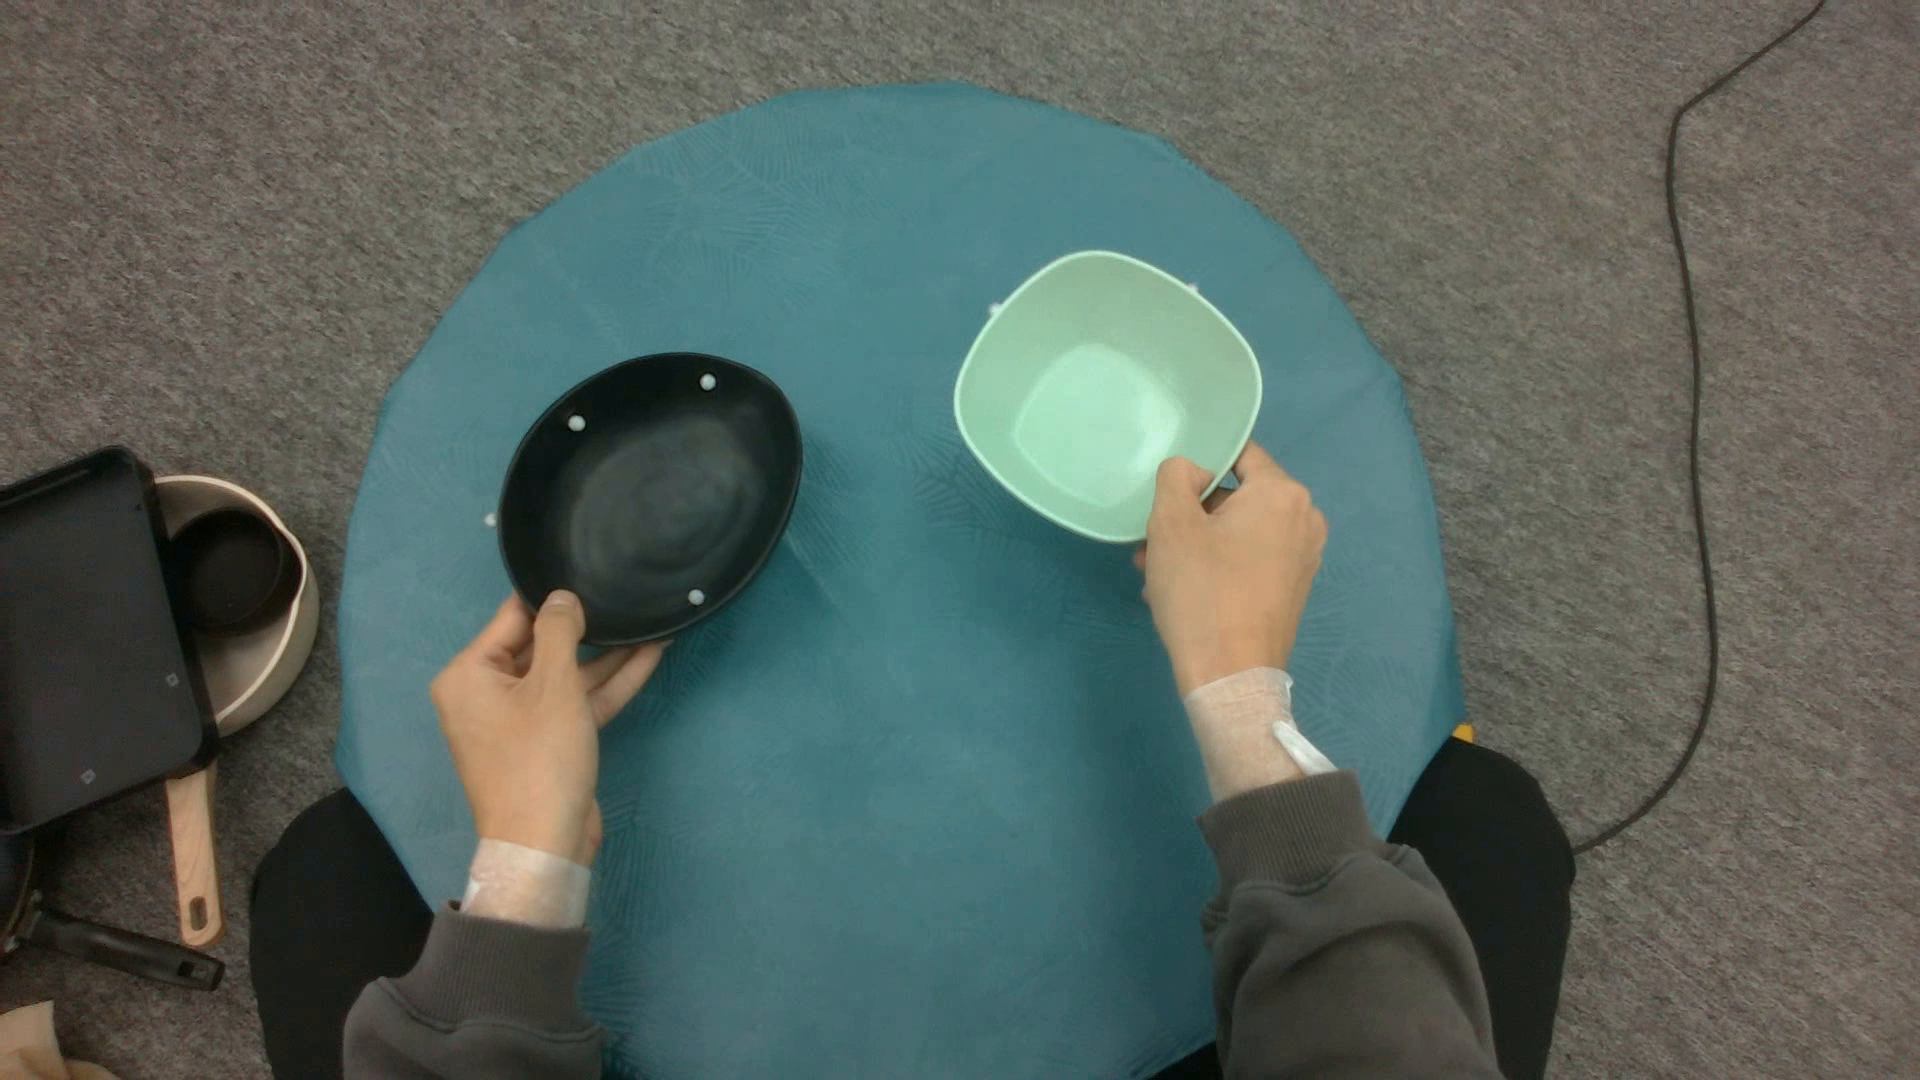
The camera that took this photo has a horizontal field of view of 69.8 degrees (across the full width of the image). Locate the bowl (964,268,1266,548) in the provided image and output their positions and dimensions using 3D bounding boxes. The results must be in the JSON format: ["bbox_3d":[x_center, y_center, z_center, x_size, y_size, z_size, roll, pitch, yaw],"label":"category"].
[{"bbox_3d":[0.078,-0.061,0.711,0.151,0.058,0.152,-1,72,2],"label":"bowl"}]

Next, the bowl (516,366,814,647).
[{"bbox_3d":[-0.151,-0.015,0.730,0.137,0.066,0.171,33,72,9],"label":"bowl"}]
